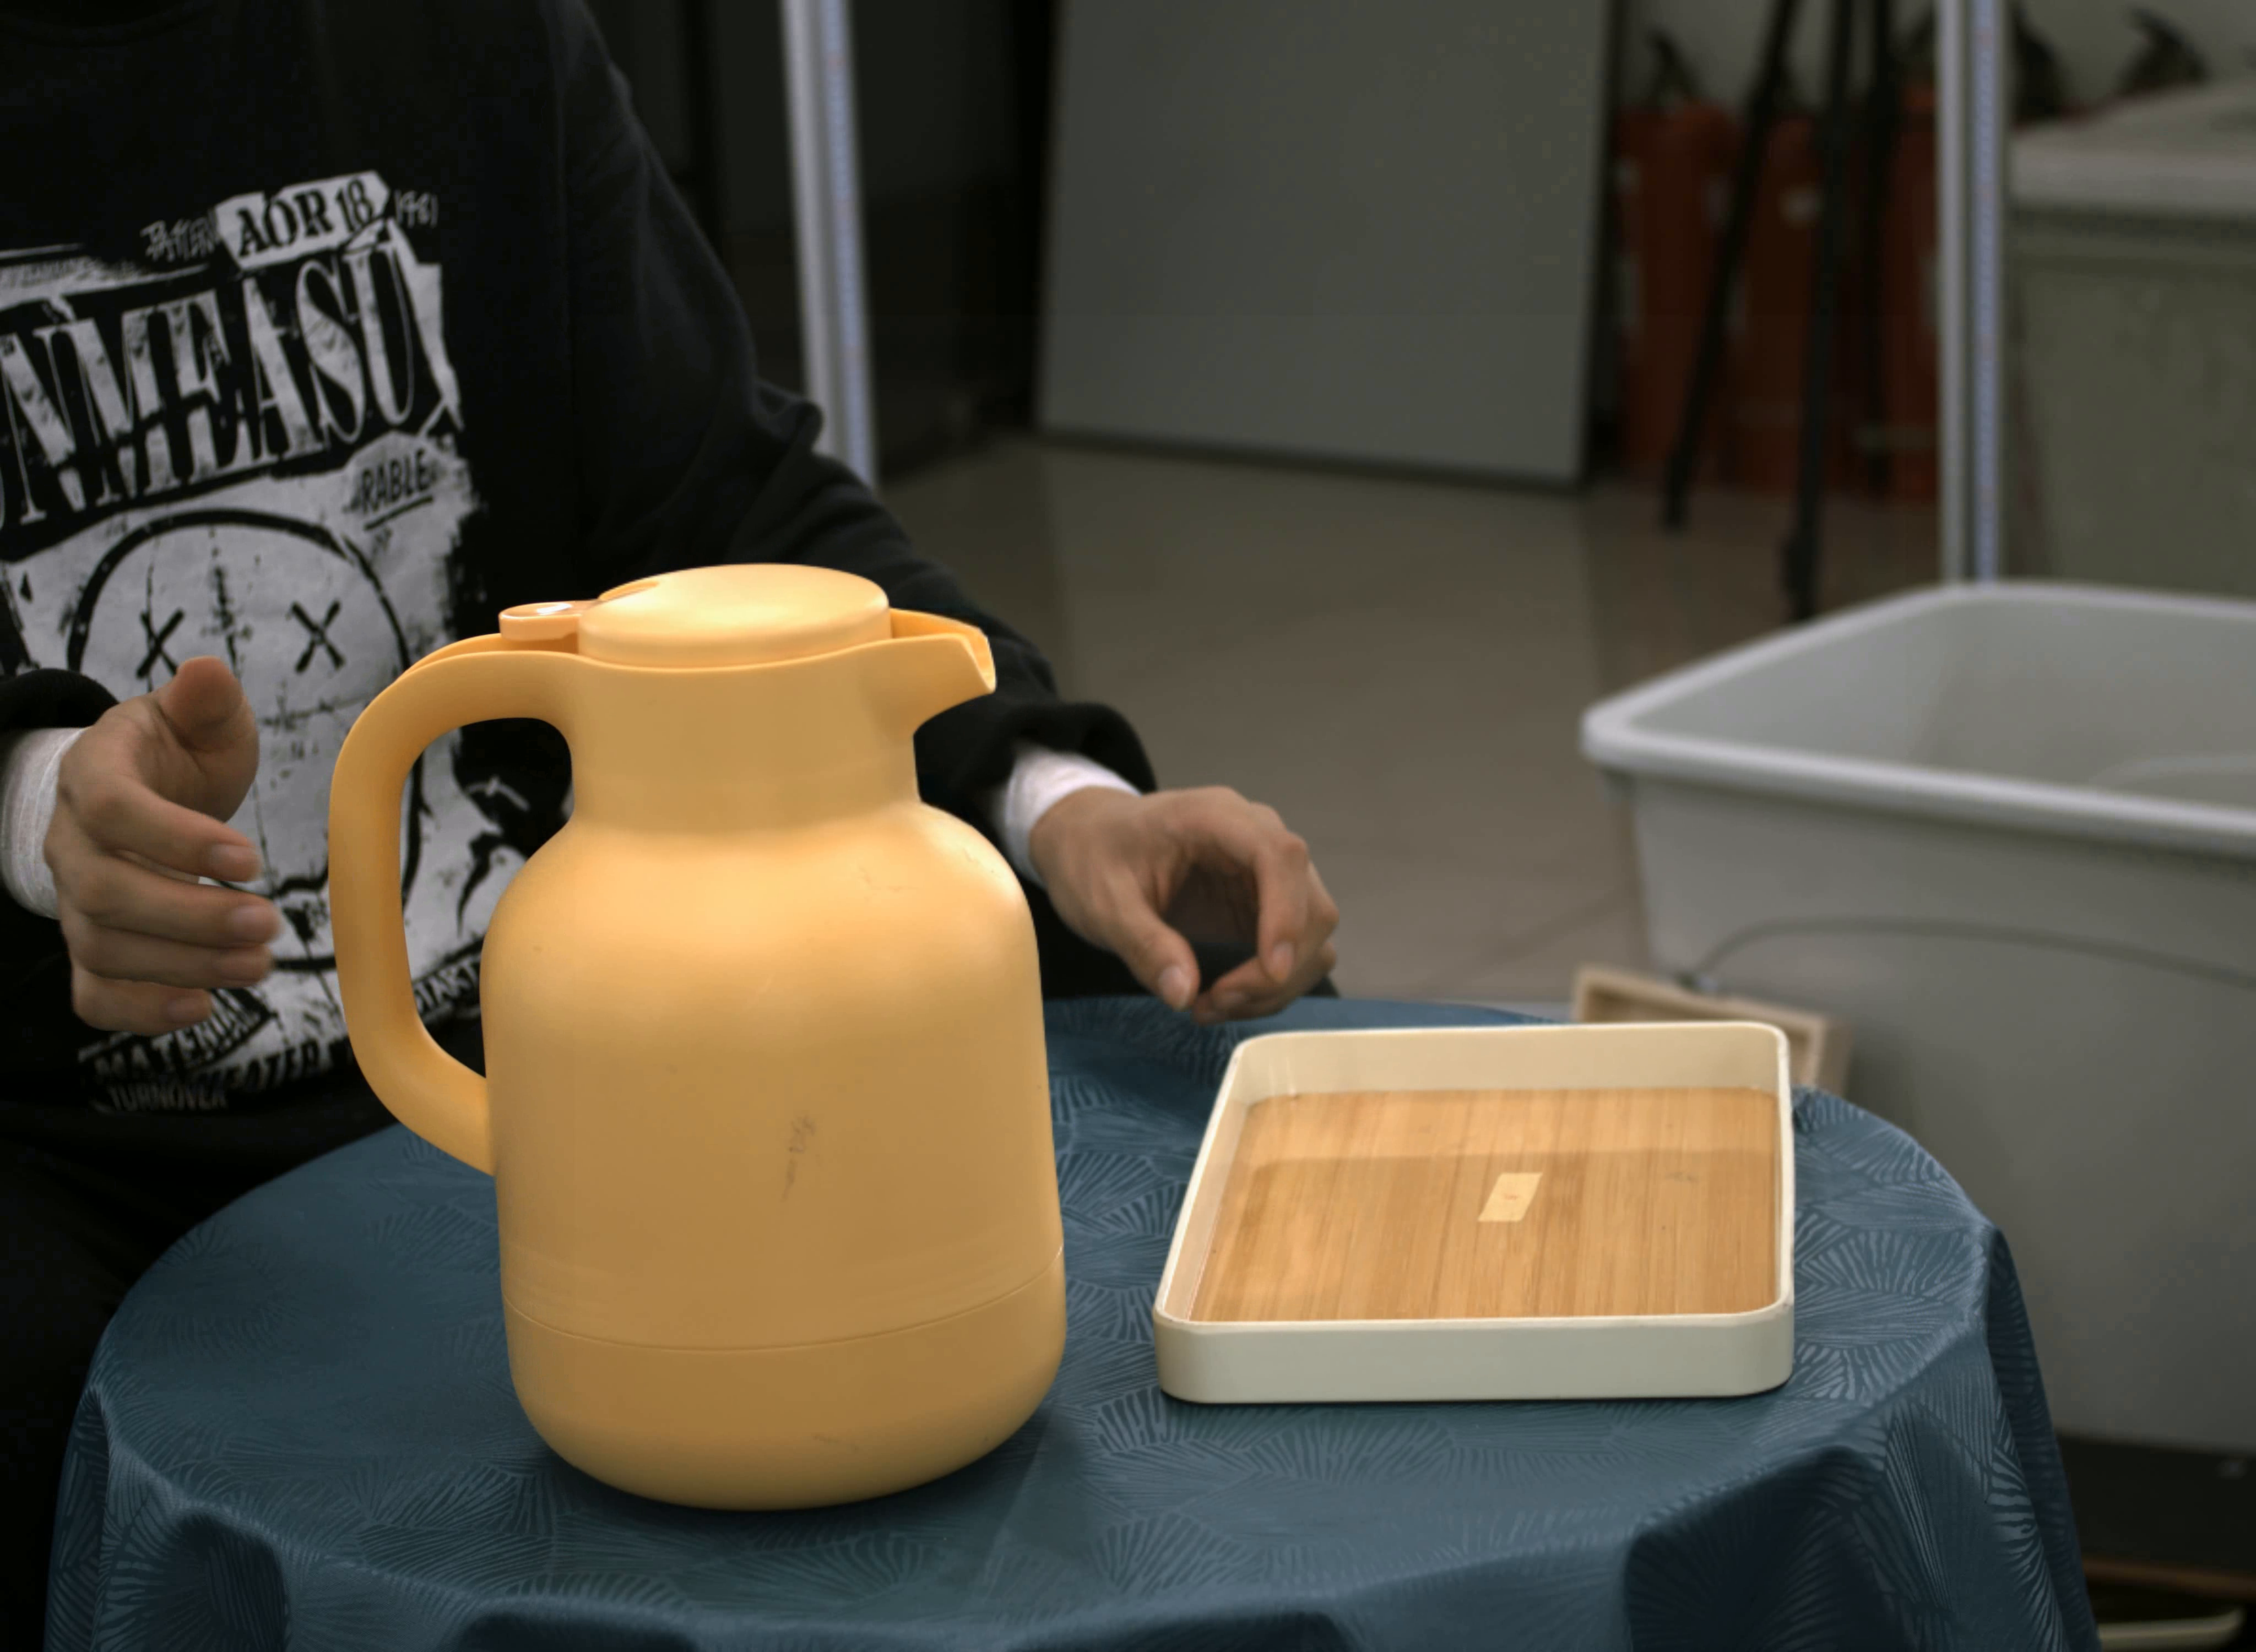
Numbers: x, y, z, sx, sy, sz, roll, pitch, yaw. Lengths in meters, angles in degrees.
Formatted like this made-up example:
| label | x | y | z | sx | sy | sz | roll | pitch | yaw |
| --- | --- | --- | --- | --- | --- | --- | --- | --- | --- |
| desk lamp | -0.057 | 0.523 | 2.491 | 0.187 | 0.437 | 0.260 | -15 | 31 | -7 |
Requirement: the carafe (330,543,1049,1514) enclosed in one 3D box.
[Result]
| label | x | y | z | sx | sy | sz | roll | pitch | yaw |
| --- | --- | --- | --- | --- | --- | --- | --- | --- | --- |
| carafe | -0.124 | 0.053 | 1.540 | 0.201 | 0.263 | 0.162 | 0 | 11 | 11 |

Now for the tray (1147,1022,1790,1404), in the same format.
| label | x | y | z | sx | sy | sz | roll | pitch | yaw |
| --- | --- | --- | --- | --- | --- | --- | --- | --- | --- |
| tray | 0.114 | 0.118 | 1.697 | 0.190 | 0.028 | 0.299 | -2 | 14 | 8 |
